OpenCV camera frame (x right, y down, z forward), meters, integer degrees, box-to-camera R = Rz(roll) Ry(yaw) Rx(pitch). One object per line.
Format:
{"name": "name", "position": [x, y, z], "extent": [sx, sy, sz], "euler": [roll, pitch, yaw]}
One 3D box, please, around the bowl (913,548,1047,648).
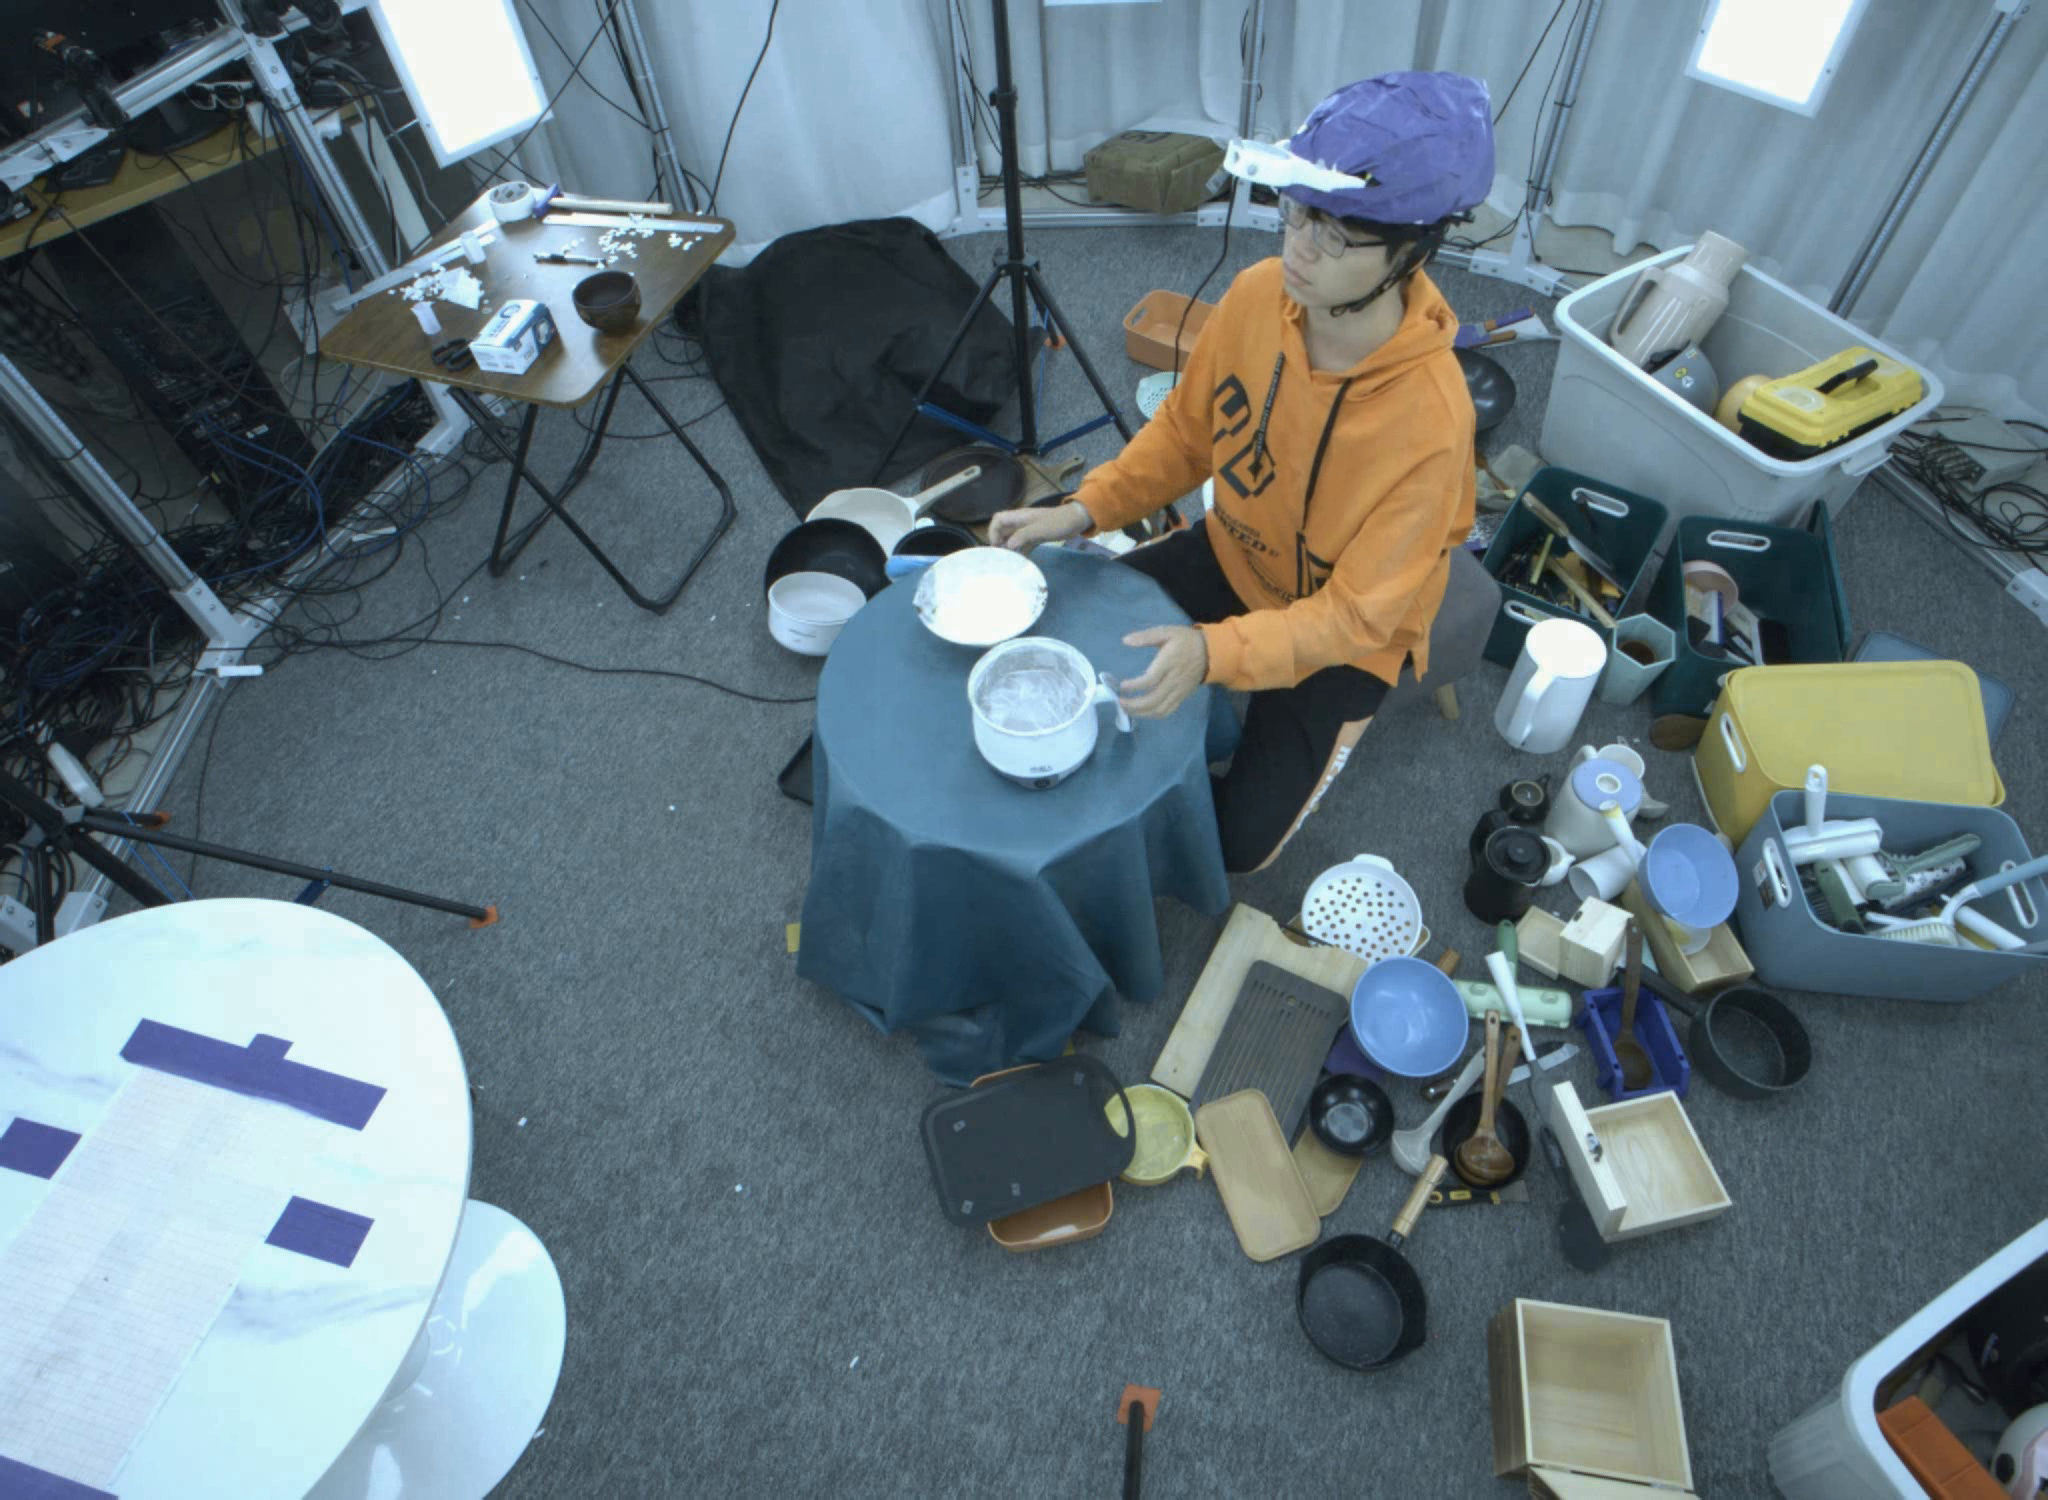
{"name": "bowl", "position": [-0.066, -0.215, 1.896], "extent": [0.204, 0.079, 0.202], "euler": [1, 53, 0]}

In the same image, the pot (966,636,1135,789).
{"name": "pot", "position": [0.041, -0.056, 1.740], "extent": [0.234, 0.138, 0.176], "euler": [-8, 55, -2]}
